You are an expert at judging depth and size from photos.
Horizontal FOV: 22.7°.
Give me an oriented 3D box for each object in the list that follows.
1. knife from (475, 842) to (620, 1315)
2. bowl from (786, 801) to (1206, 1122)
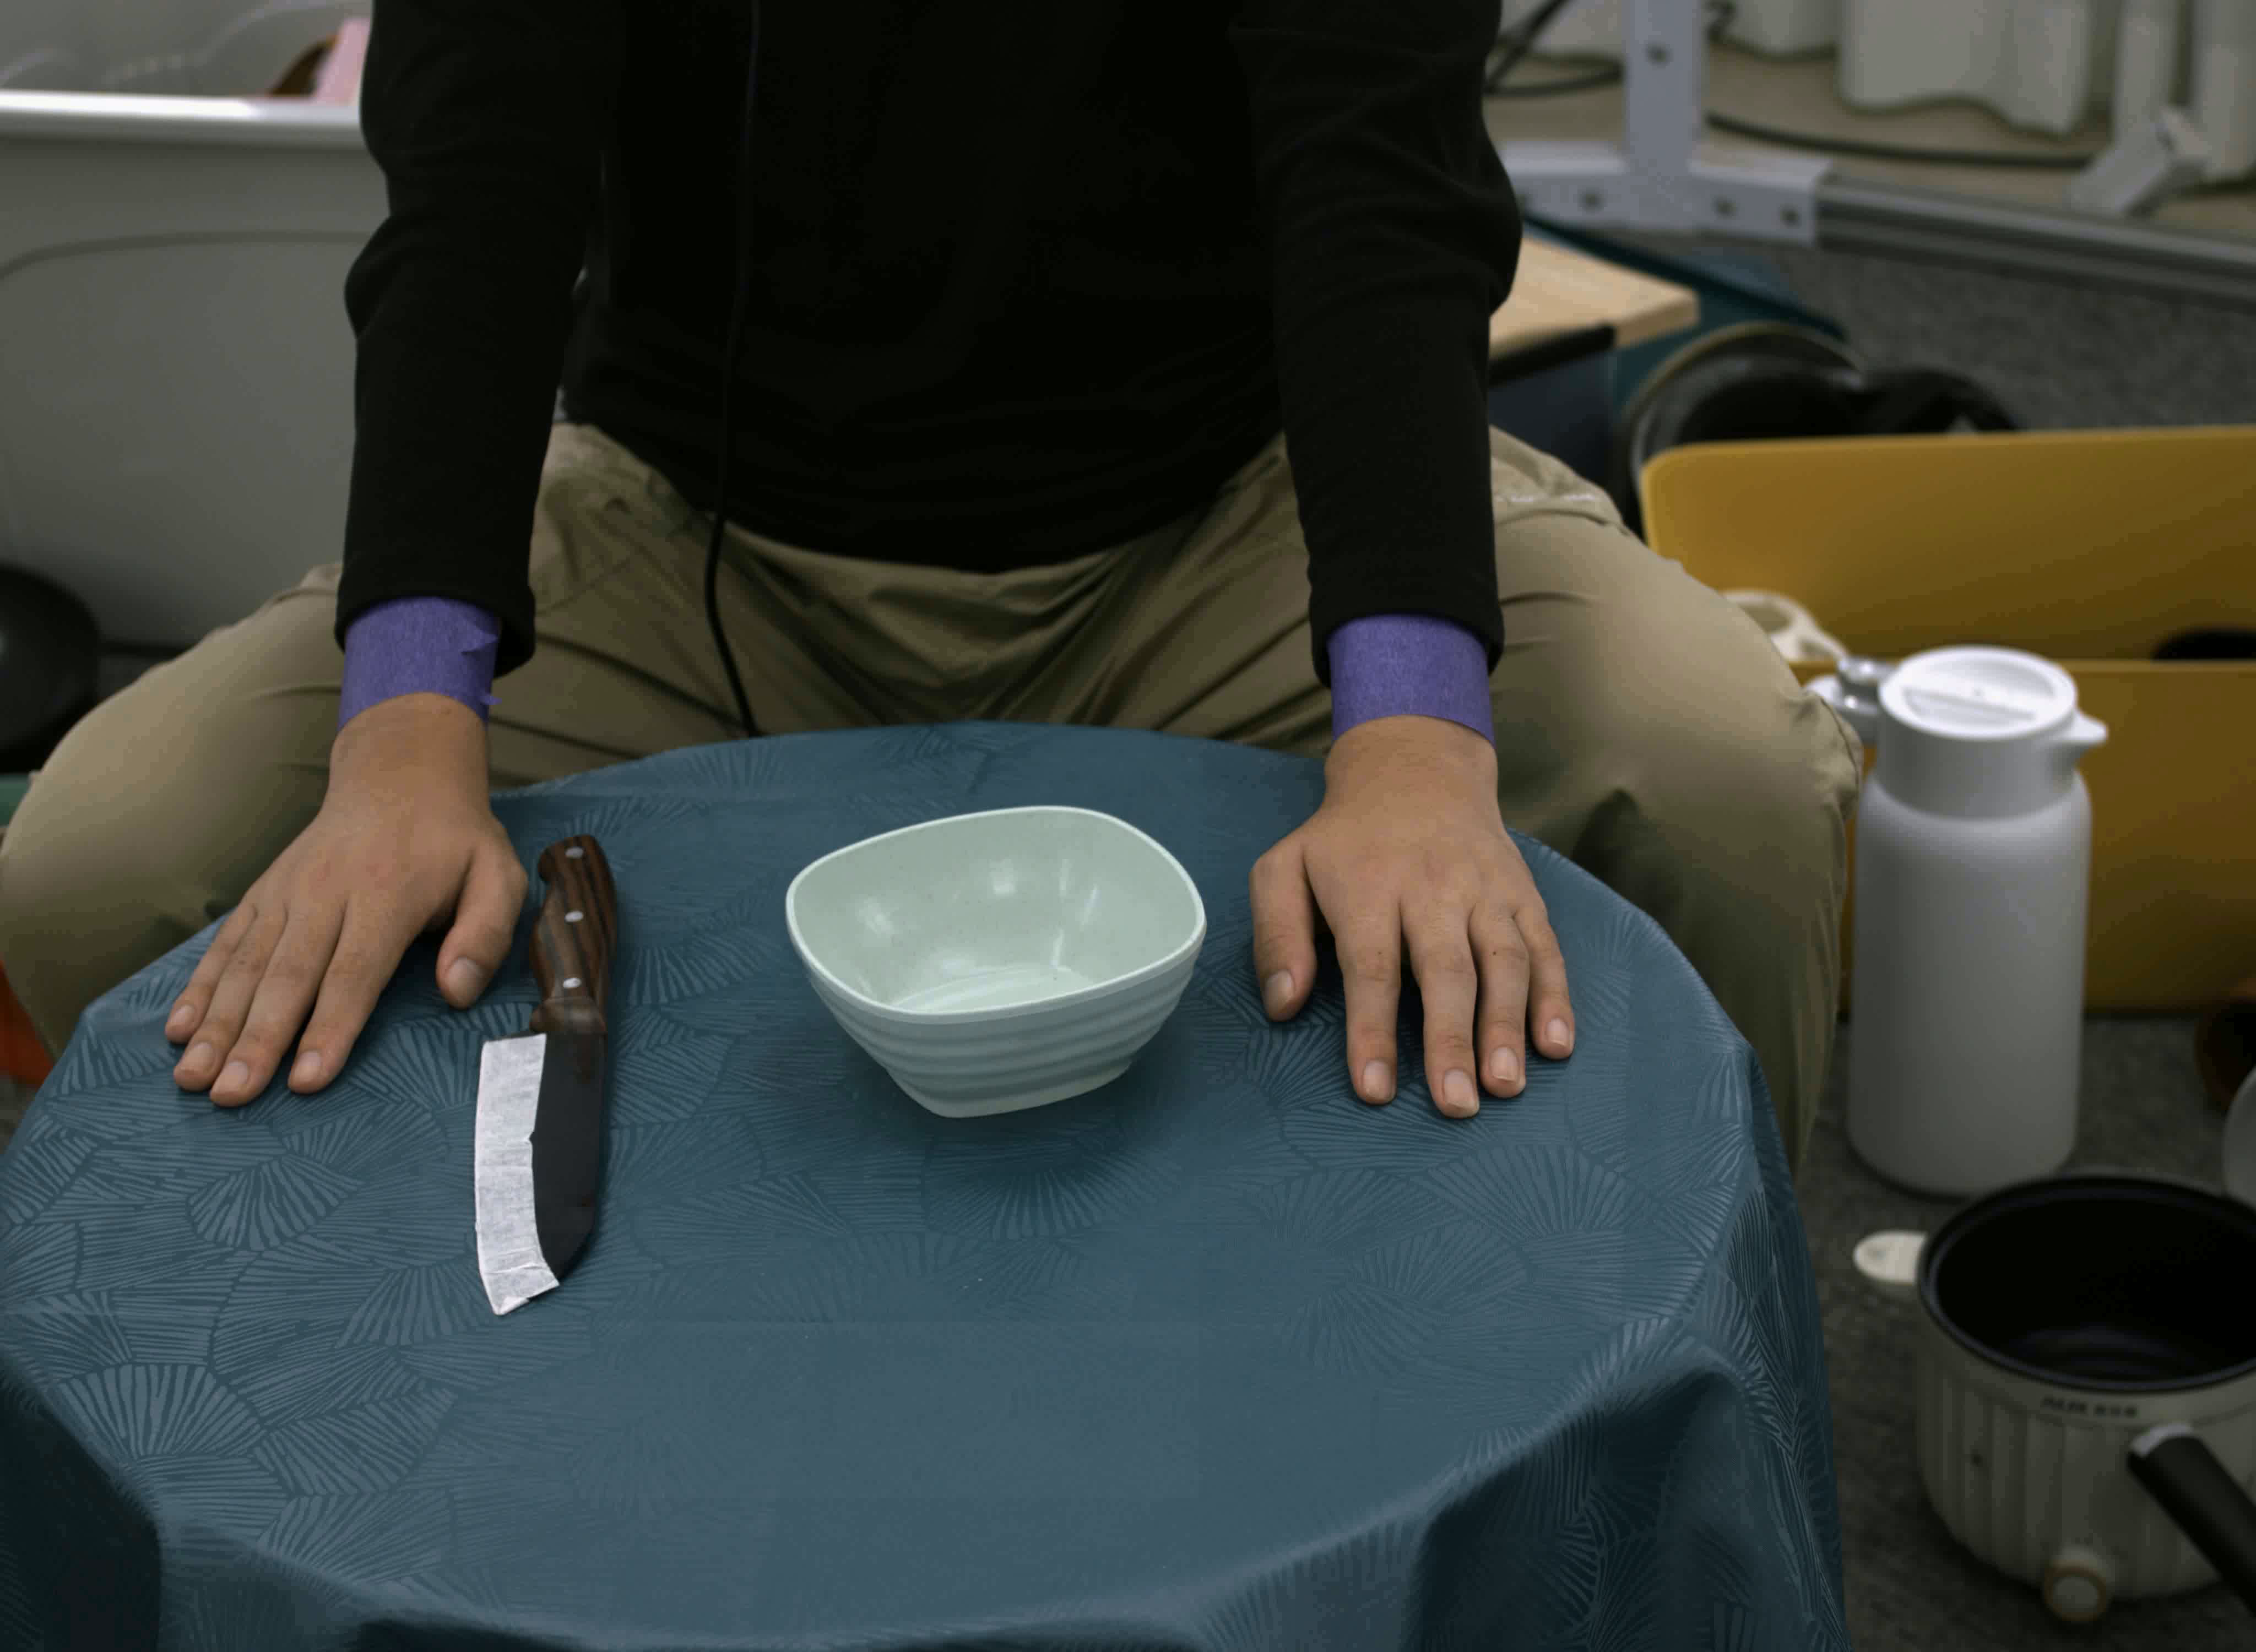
[{"bbox_3d":[-0.199,0.085,1.933,0.050,0.020,0.294,-7,29,3],"label":"knife"},{"bbox_3d":[-0.044,0.053,1.936,0.151,0.058,0.154,-2,29,1],"label":"bowl"}]
